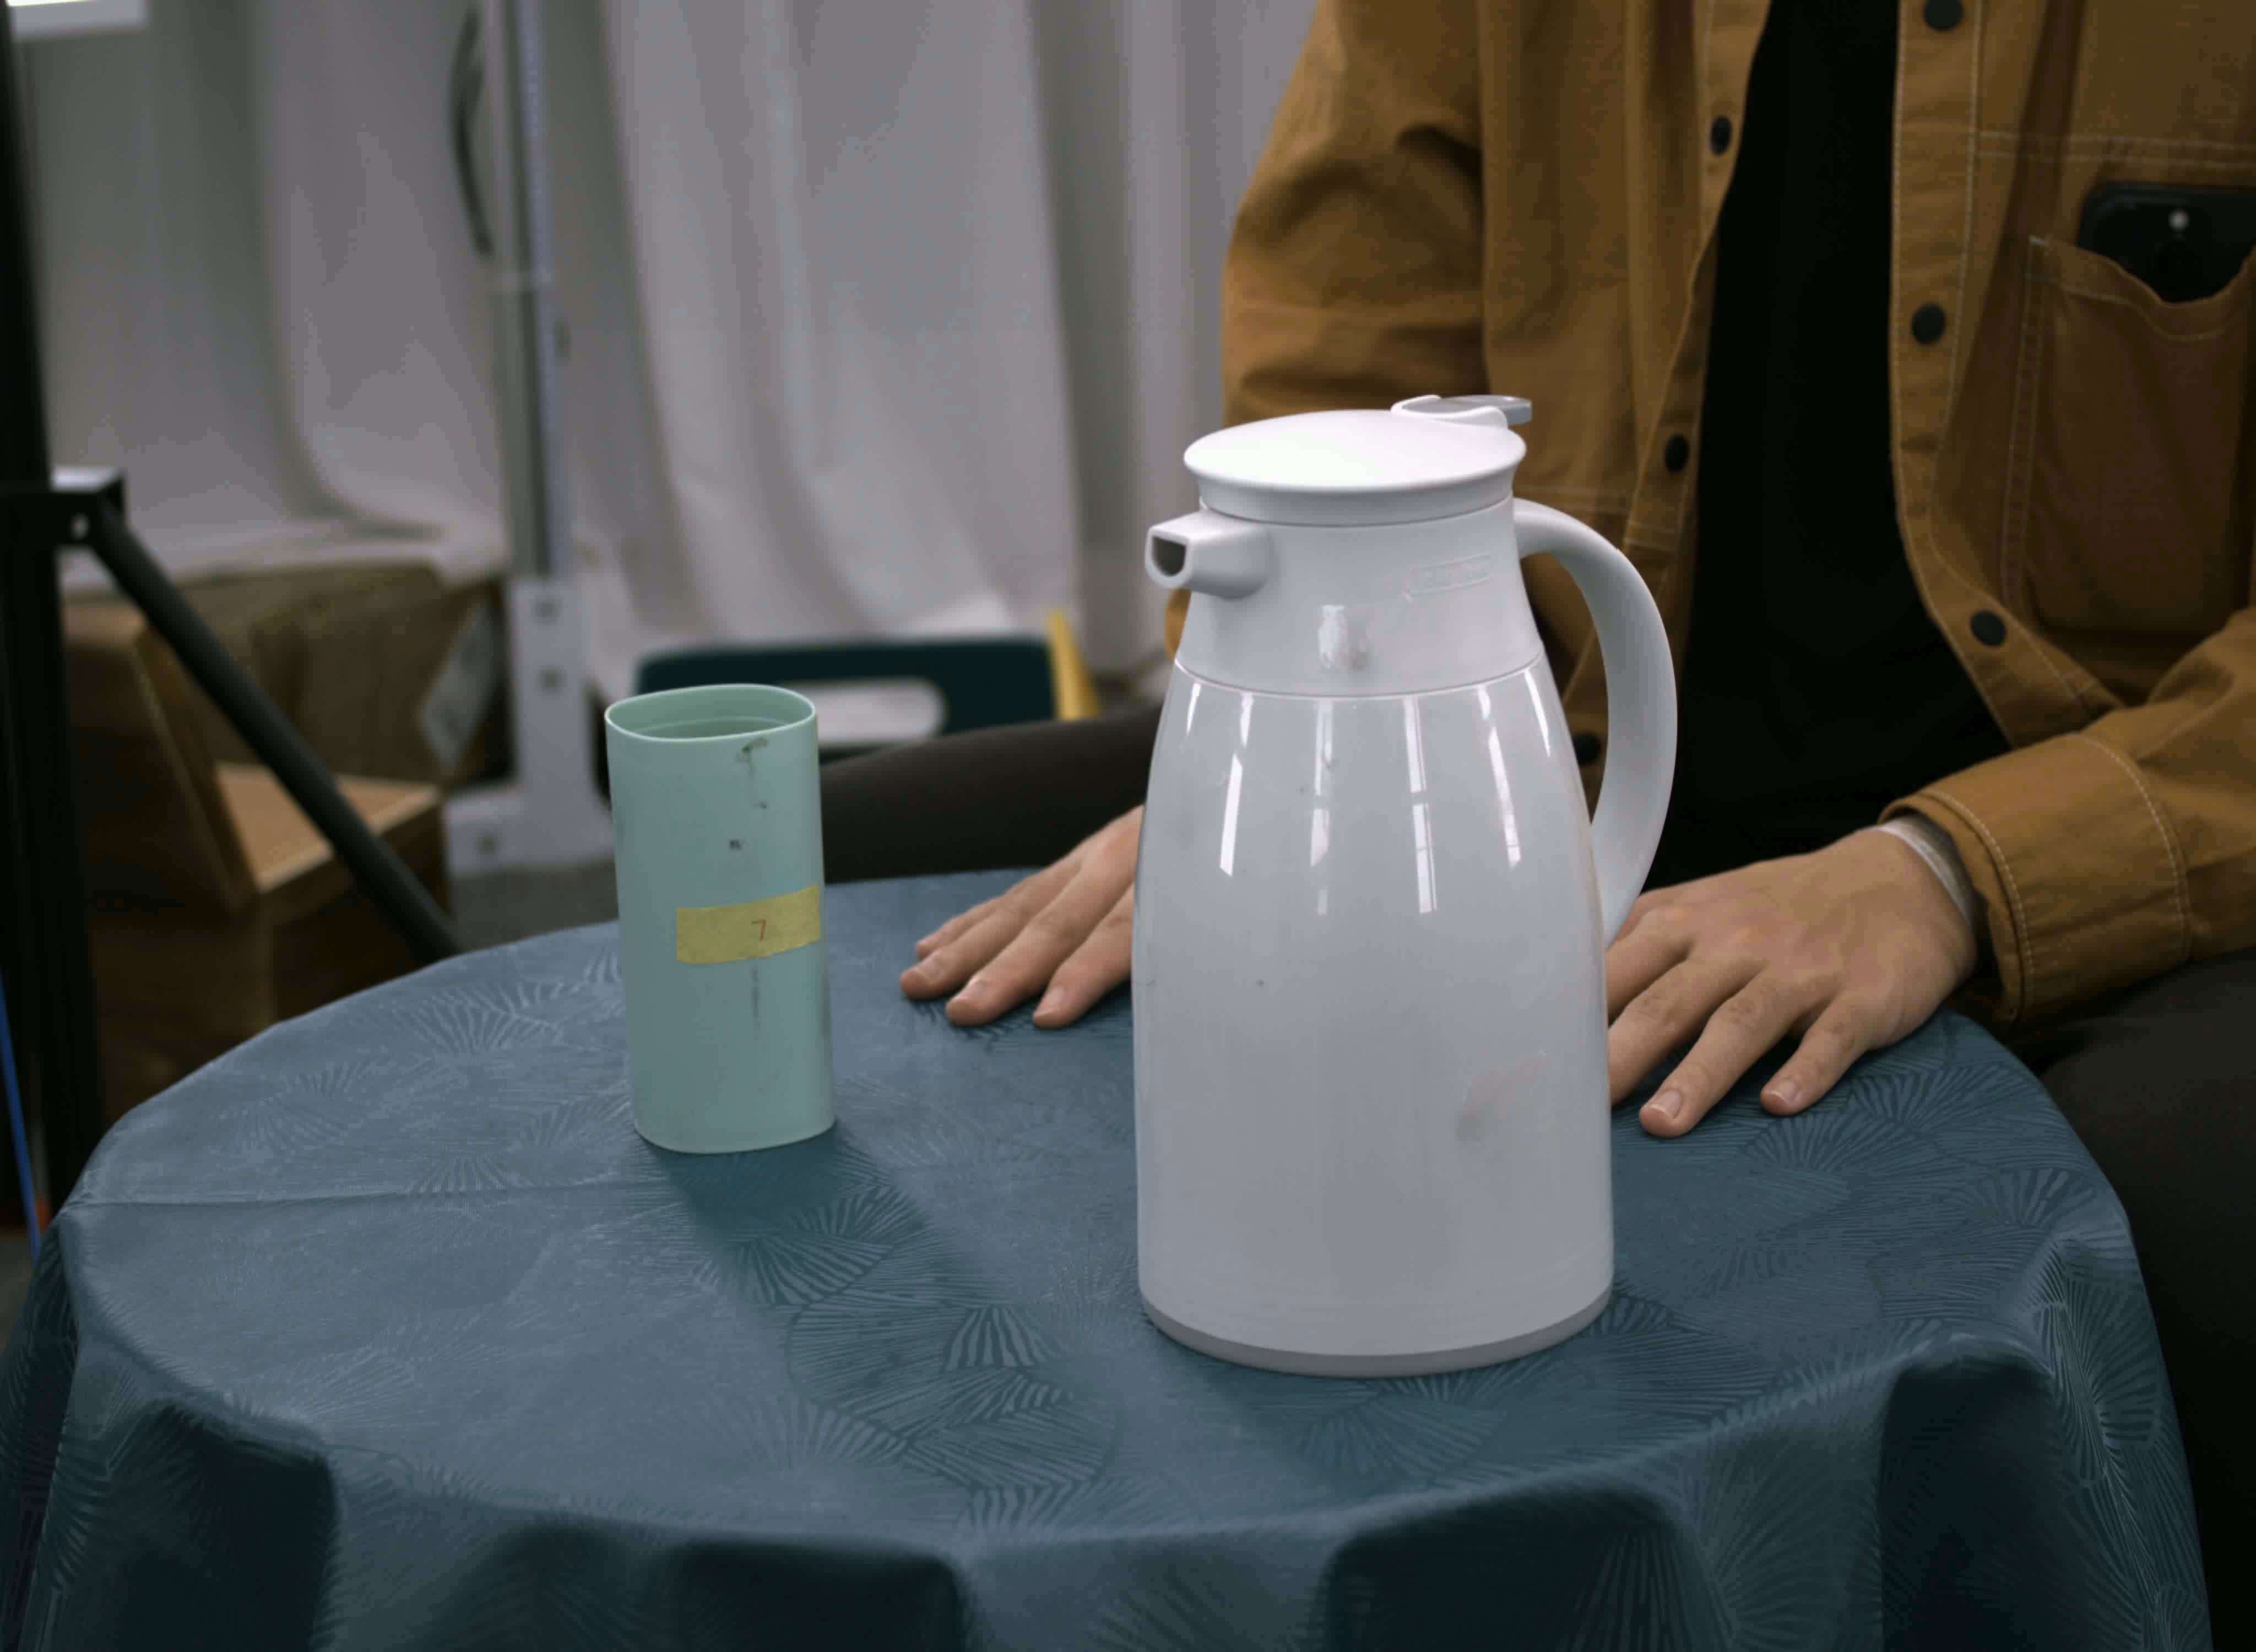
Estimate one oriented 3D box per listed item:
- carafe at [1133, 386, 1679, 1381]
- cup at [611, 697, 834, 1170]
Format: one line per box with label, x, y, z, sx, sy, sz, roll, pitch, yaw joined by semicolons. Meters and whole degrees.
carafe;0.080;0.007;1.445;0.164;0.248;0.135;-11;17;-33
cup;-0.123;0.031;1.620;0.066;0.132;0.067;-2;15;-1
